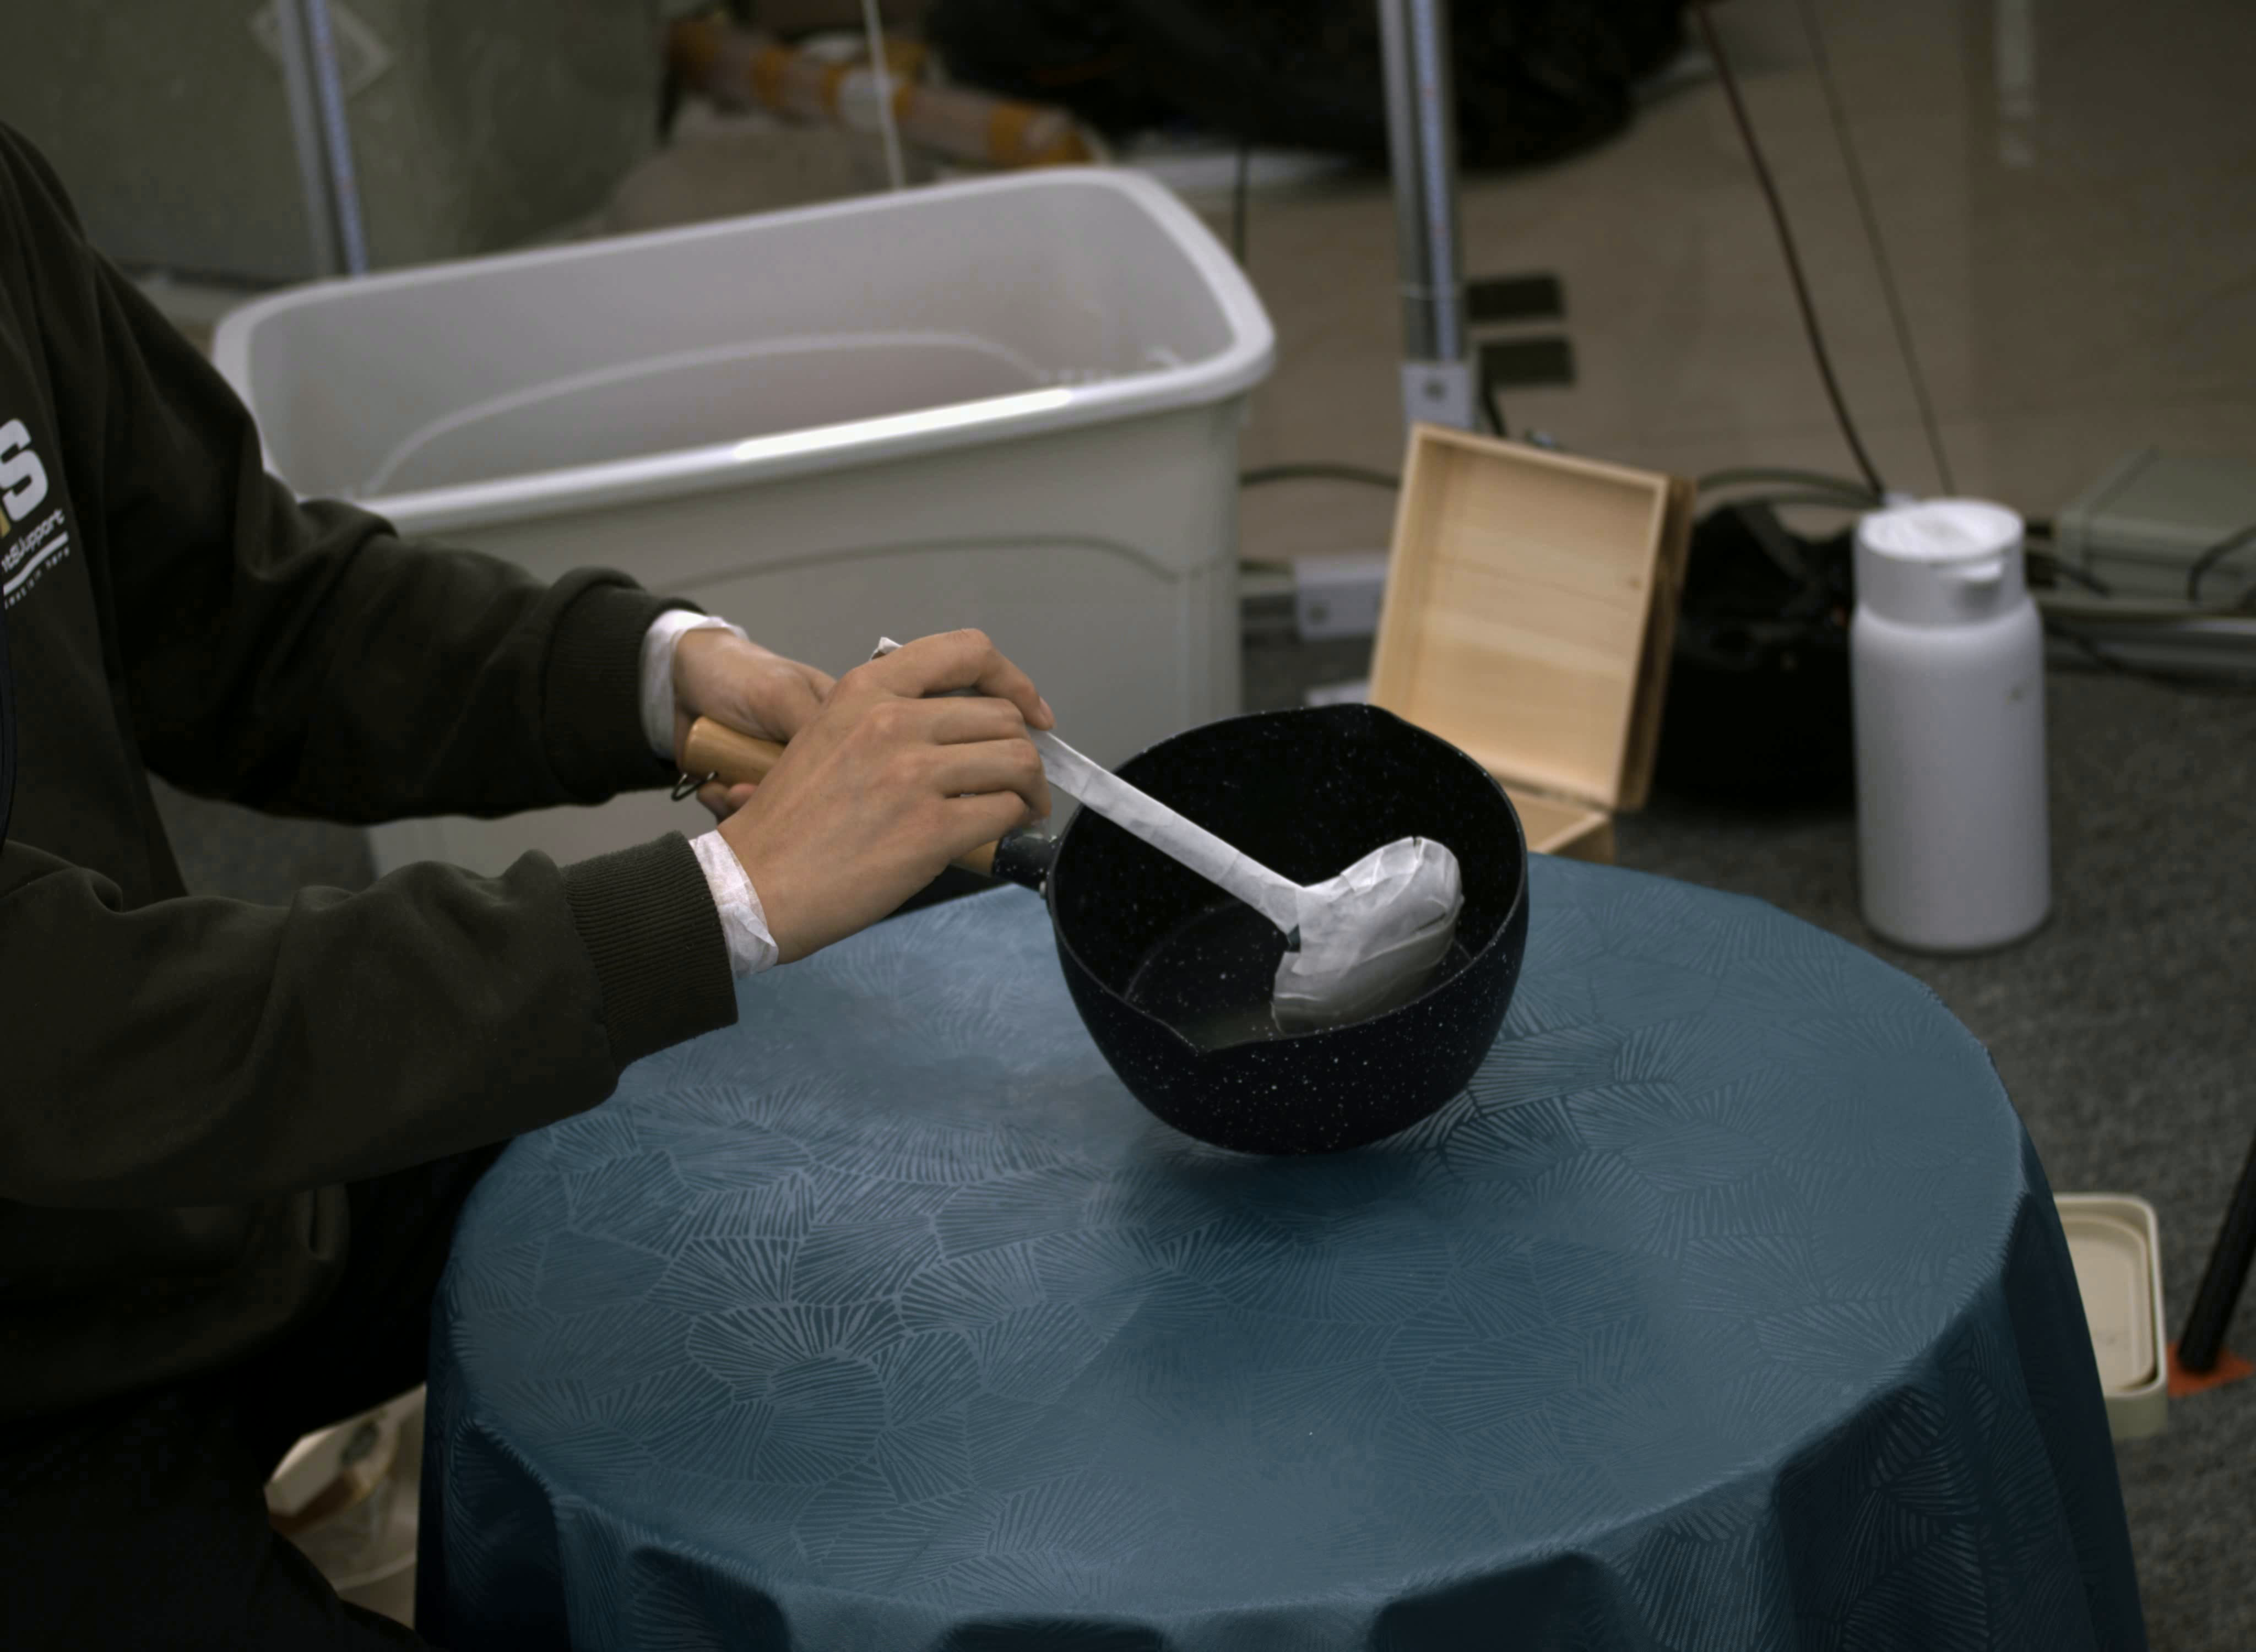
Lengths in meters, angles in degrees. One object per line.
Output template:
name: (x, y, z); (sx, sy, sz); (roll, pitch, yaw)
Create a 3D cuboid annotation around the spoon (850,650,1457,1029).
spoon: (0.007, -0.001, 2.110); (0.279, 0.101, 0.058); (29, 11, -21)

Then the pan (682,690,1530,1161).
pan: (-0.012, 0.026, 2.203); (0.341, 0.110, 0.204); (10, 47, 16)
